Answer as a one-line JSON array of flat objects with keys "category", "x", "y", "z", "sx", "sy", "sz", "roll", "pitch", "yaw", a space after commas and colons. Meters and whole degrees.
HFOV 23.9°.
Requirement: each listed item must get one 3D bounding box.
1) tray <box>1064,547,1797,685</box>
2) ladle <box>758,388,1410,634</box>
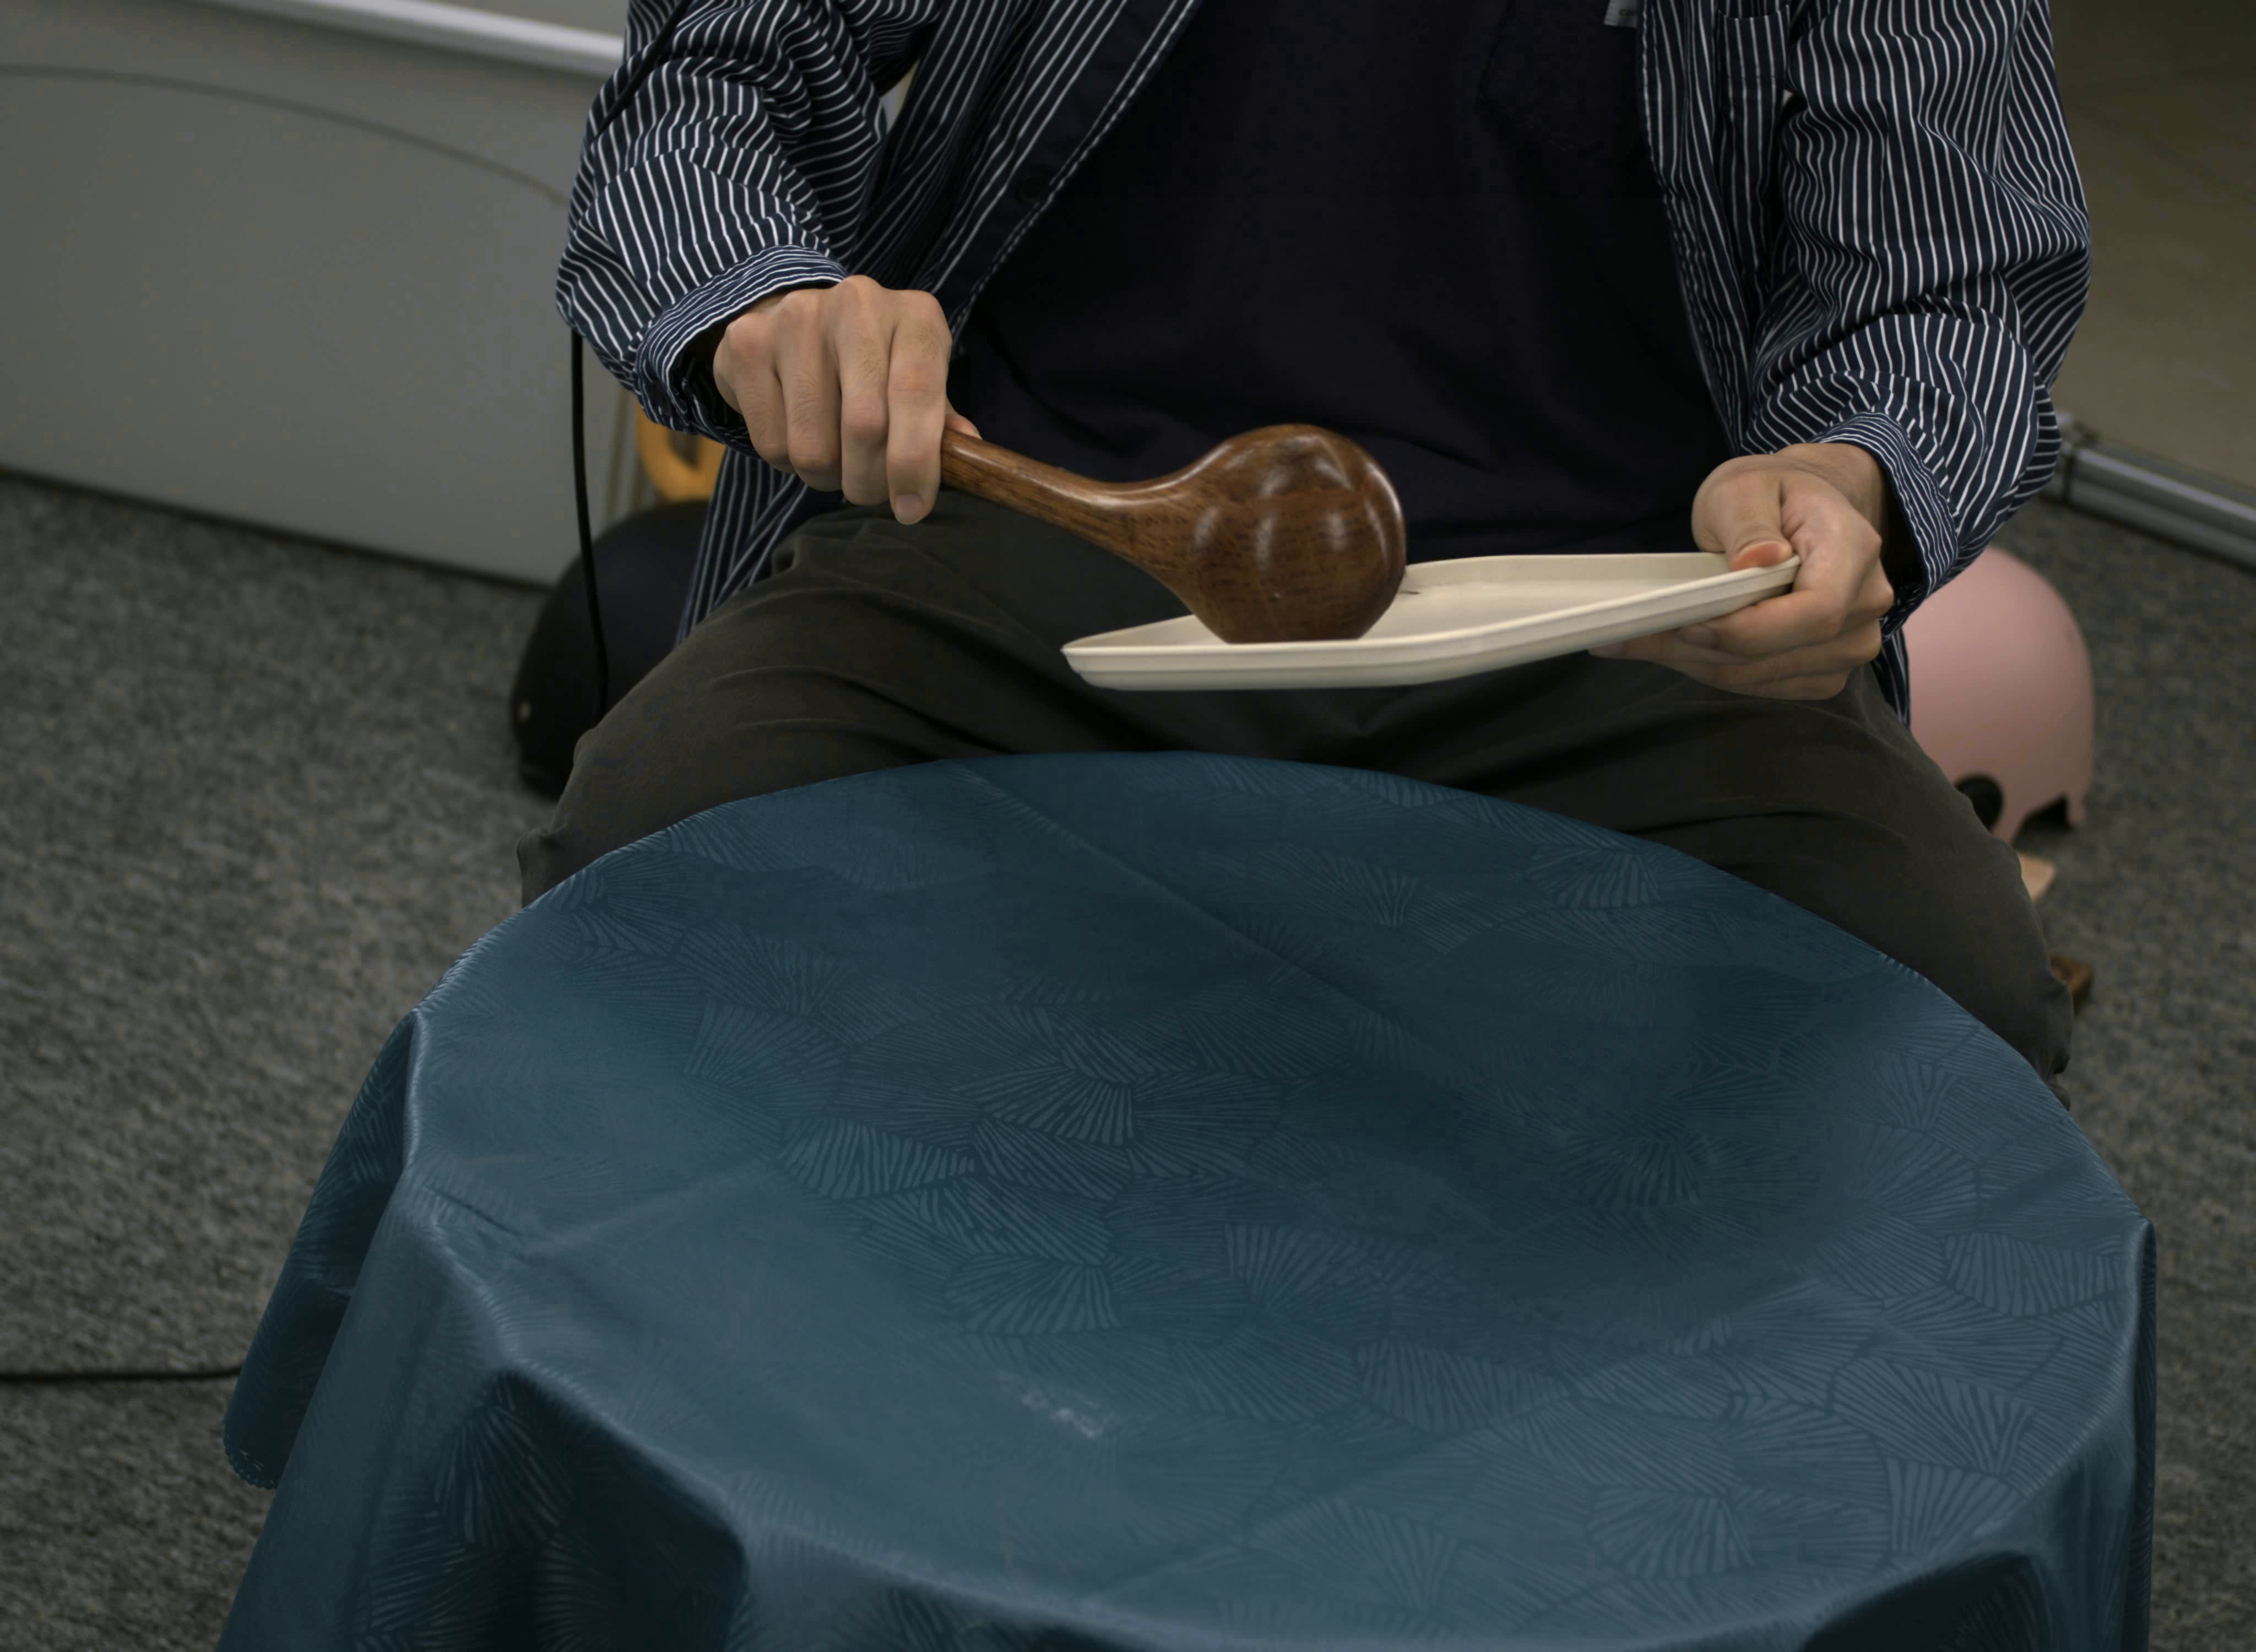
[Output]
[{"category": "tray", "x": 0.106, "y": -0.071, "z": 1.825, "sx": 0.172, "sy": 0.017, "sz": 0.238, "roll": 0, "pitch": 9, "yaw": 41}, {"category": "ladle", "x": -0.016, "y": -0.122, "z": 1.857, "sx": 0.076, "sy": 0.082, "sz": 0.276, "roll": 0, "pitch": 13, "yaw": -42}]
